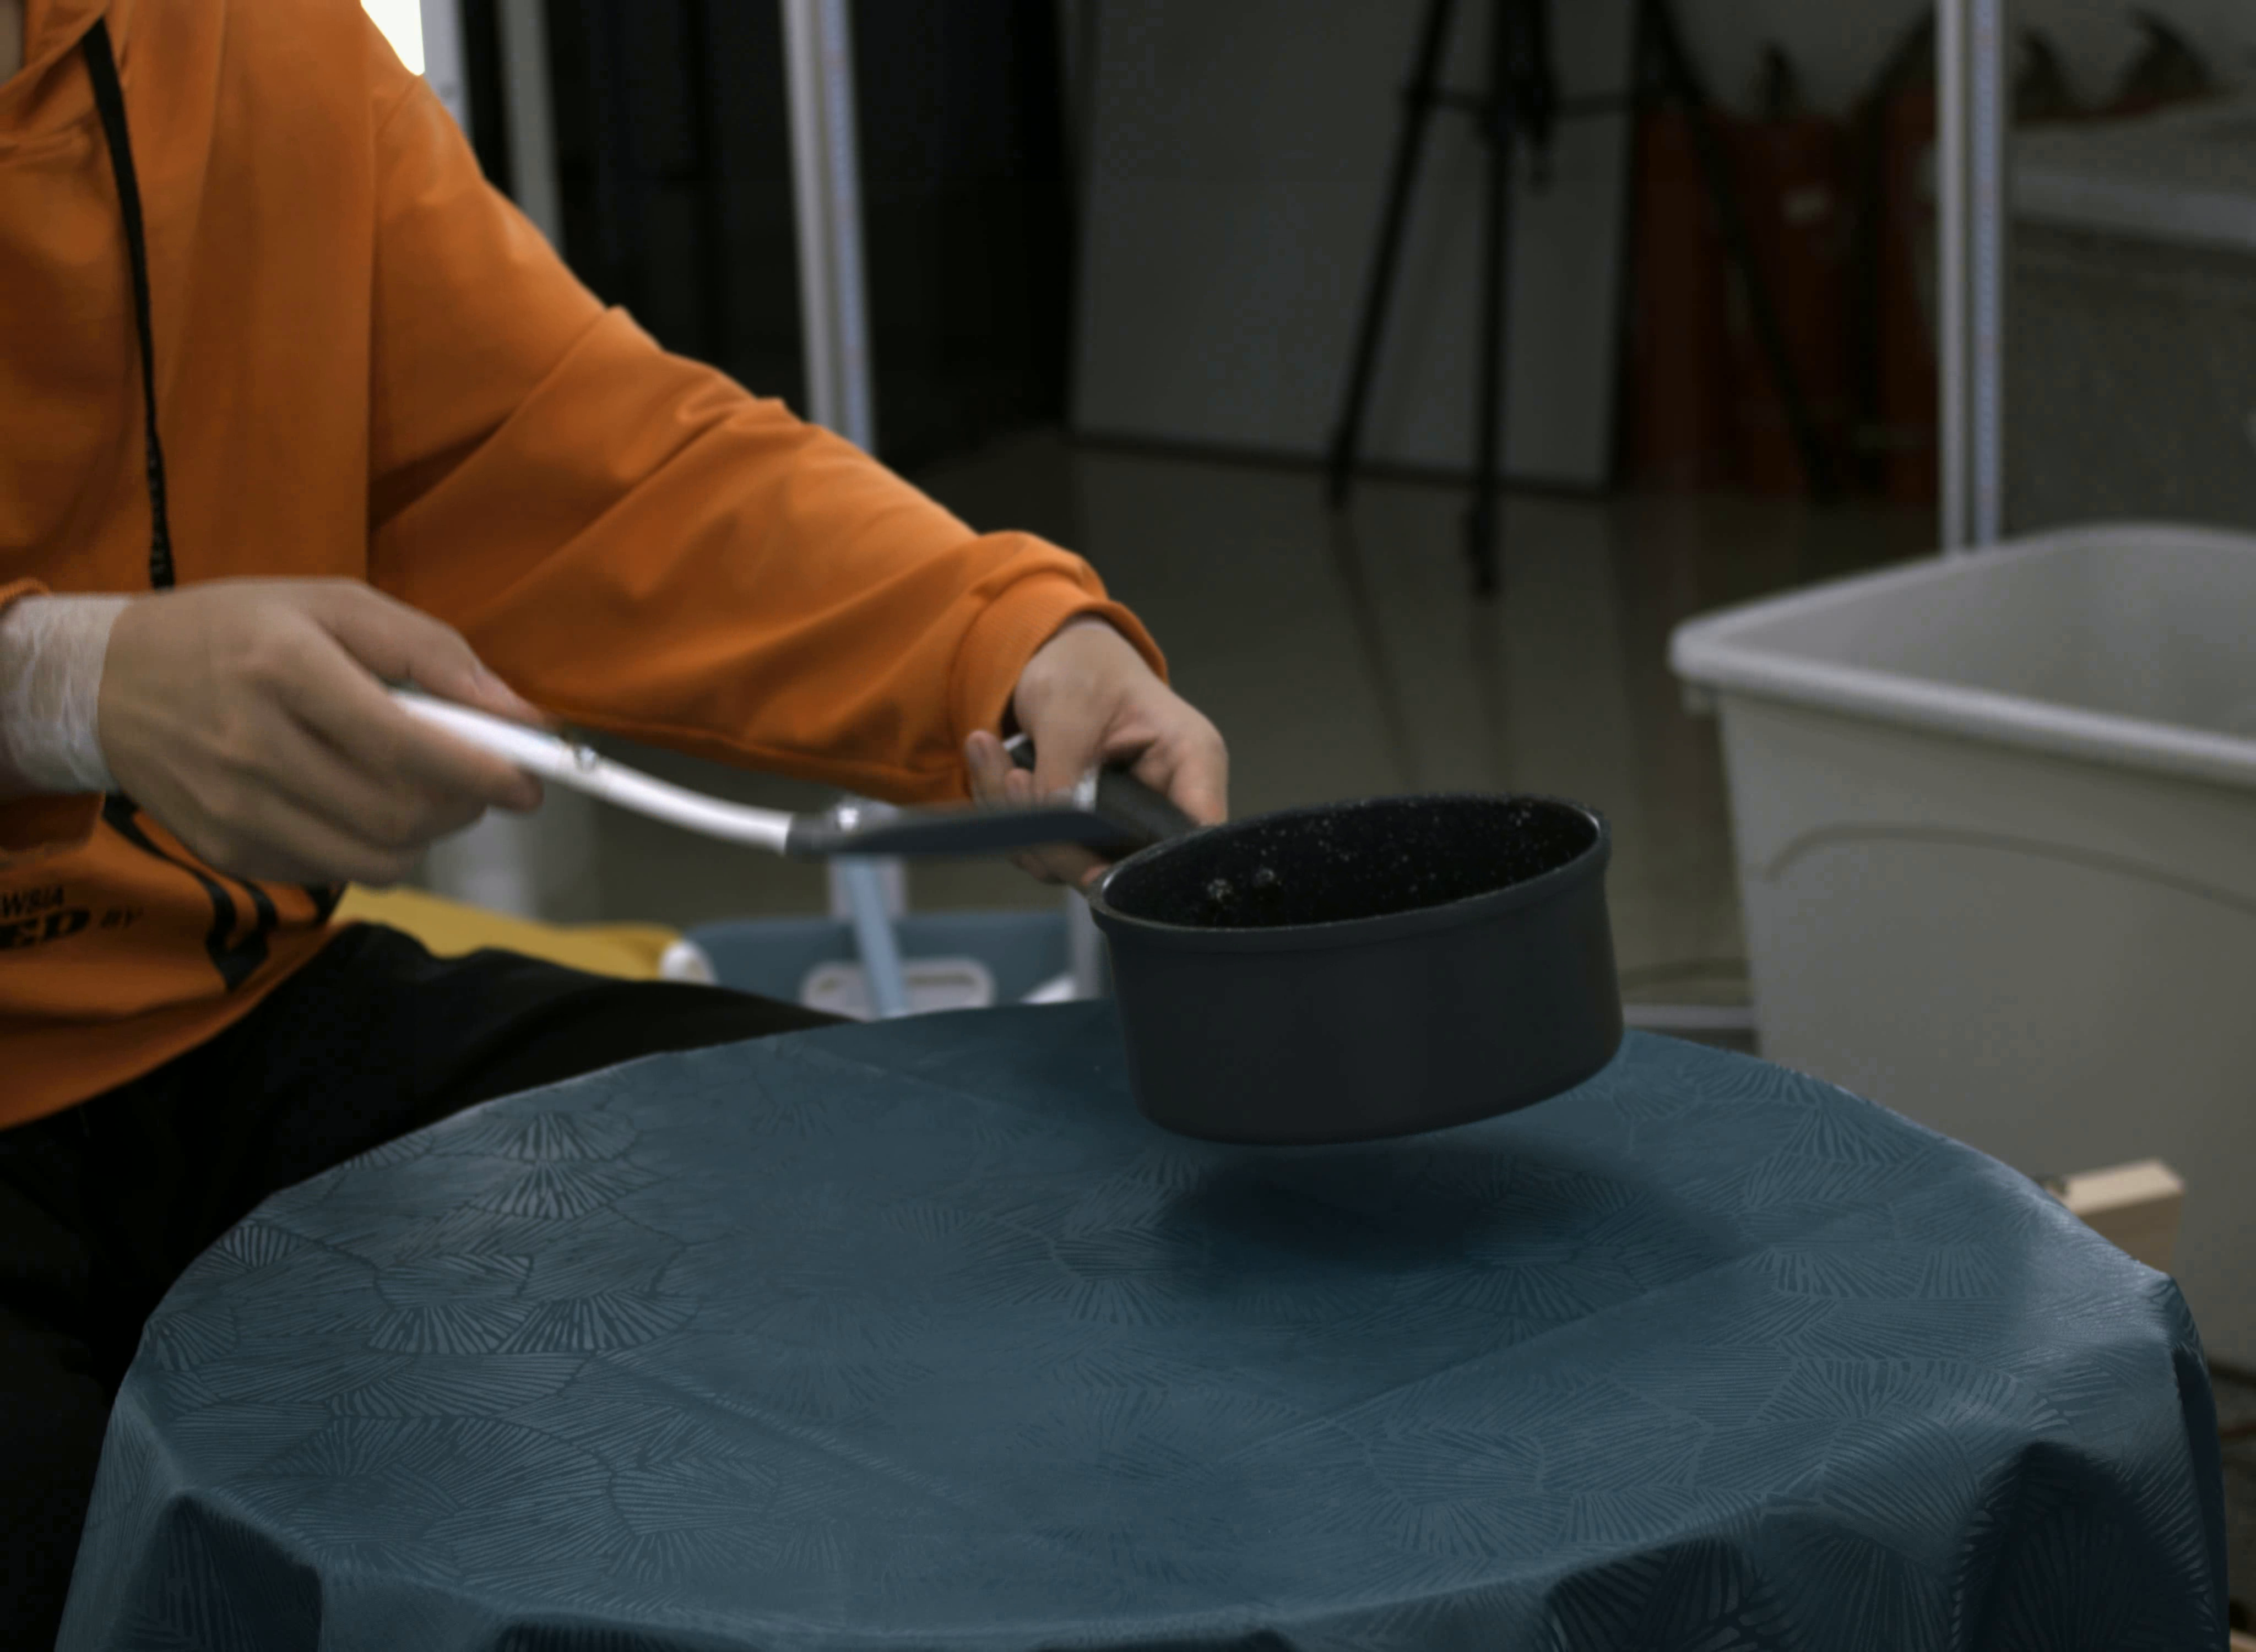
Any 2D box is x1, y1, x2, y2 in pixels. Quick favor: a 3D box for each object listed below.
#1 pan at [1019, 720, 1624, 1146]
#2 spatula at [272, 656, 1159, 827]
[{"bbox_3d":[0.042,0.030,1.807,0.168,0.087,0.332,-13,14,-21],"label":"pan"},{"bbox_3d":[-0.128,-0.021,1.624,0.288,0.032,0.058,7,-14,24],"label":"spatula"}]
